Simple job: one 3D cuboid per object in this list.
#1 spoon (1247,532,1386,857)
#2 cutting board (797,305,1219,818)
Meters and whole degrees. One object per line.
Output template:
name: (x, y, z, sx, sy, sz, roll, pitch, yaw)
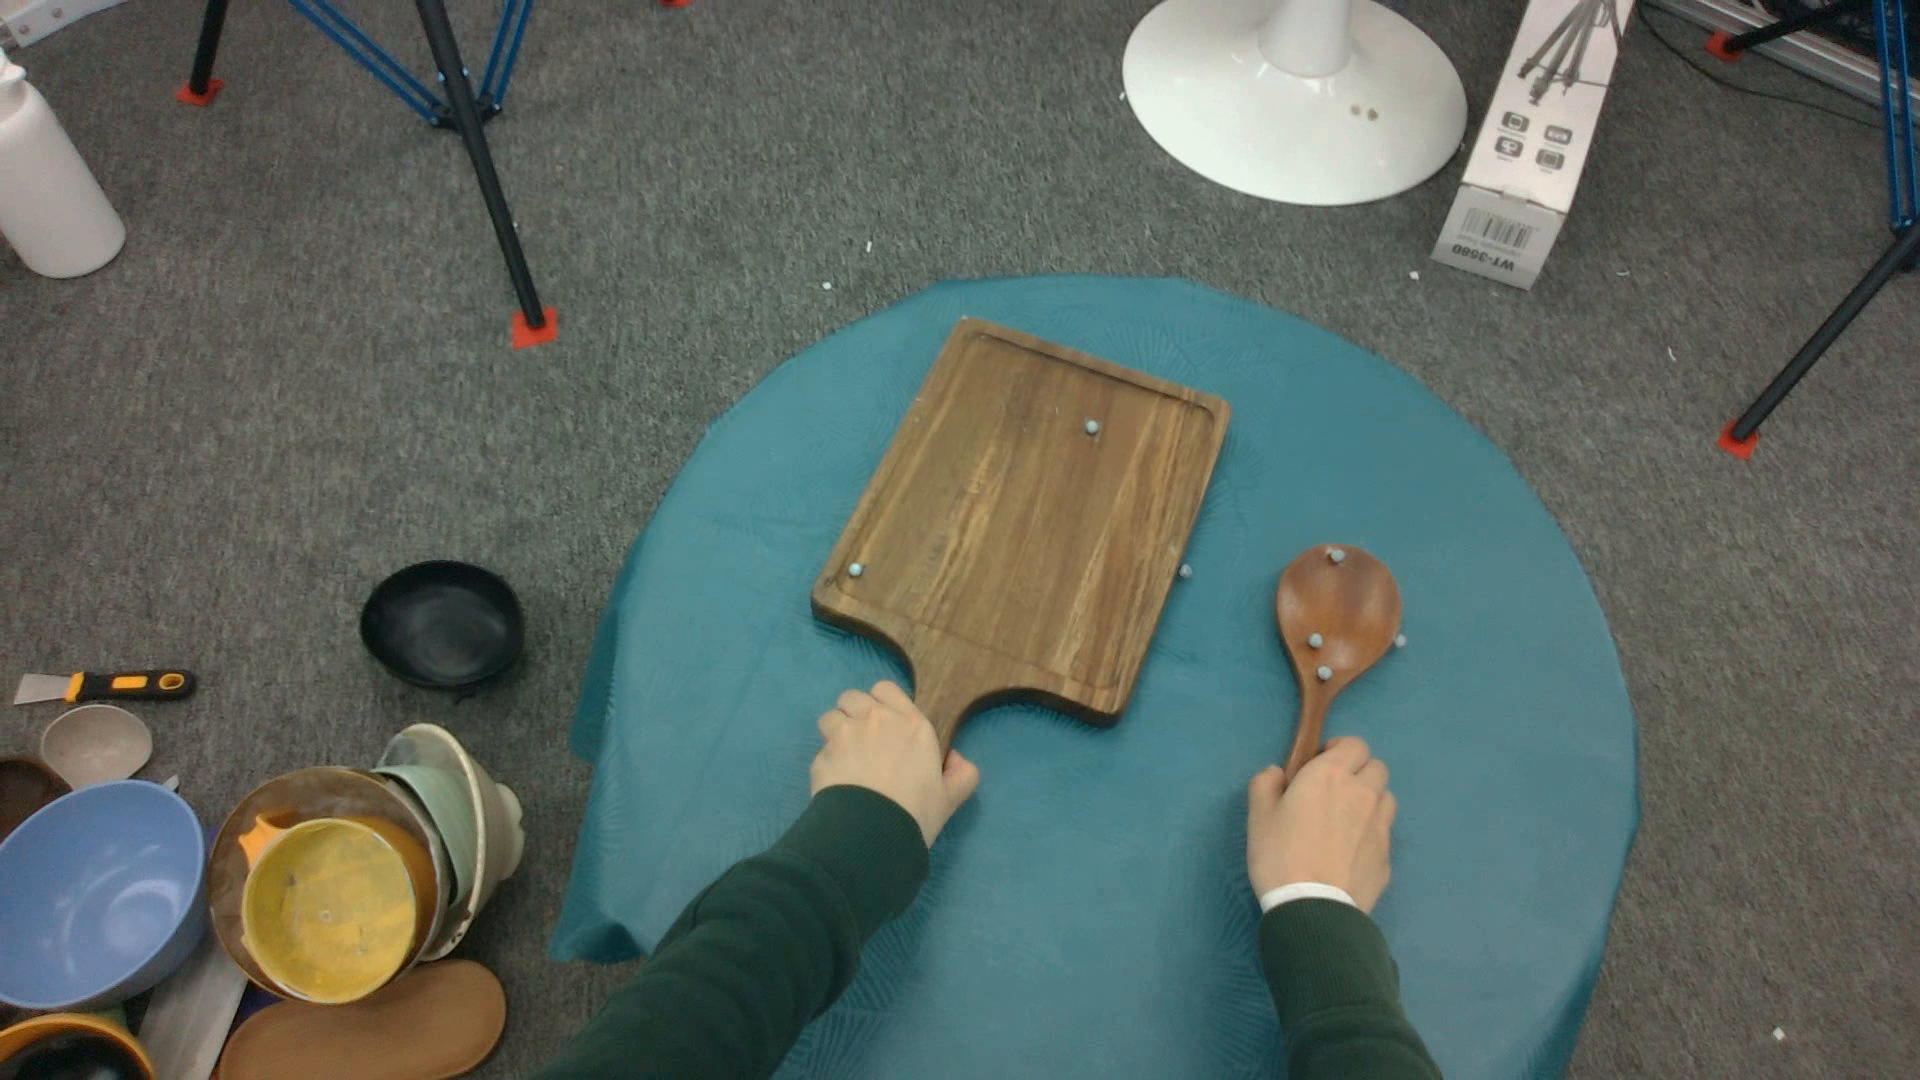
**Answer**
spoon: (0.198, 0.084, 0.795, 0.075, 0.017, 0.217, 18, 56, 6)
cutting board: (0.020, 0.008, 0.831, 0.201, 0.023, 0.354, 20, 57, 8)
